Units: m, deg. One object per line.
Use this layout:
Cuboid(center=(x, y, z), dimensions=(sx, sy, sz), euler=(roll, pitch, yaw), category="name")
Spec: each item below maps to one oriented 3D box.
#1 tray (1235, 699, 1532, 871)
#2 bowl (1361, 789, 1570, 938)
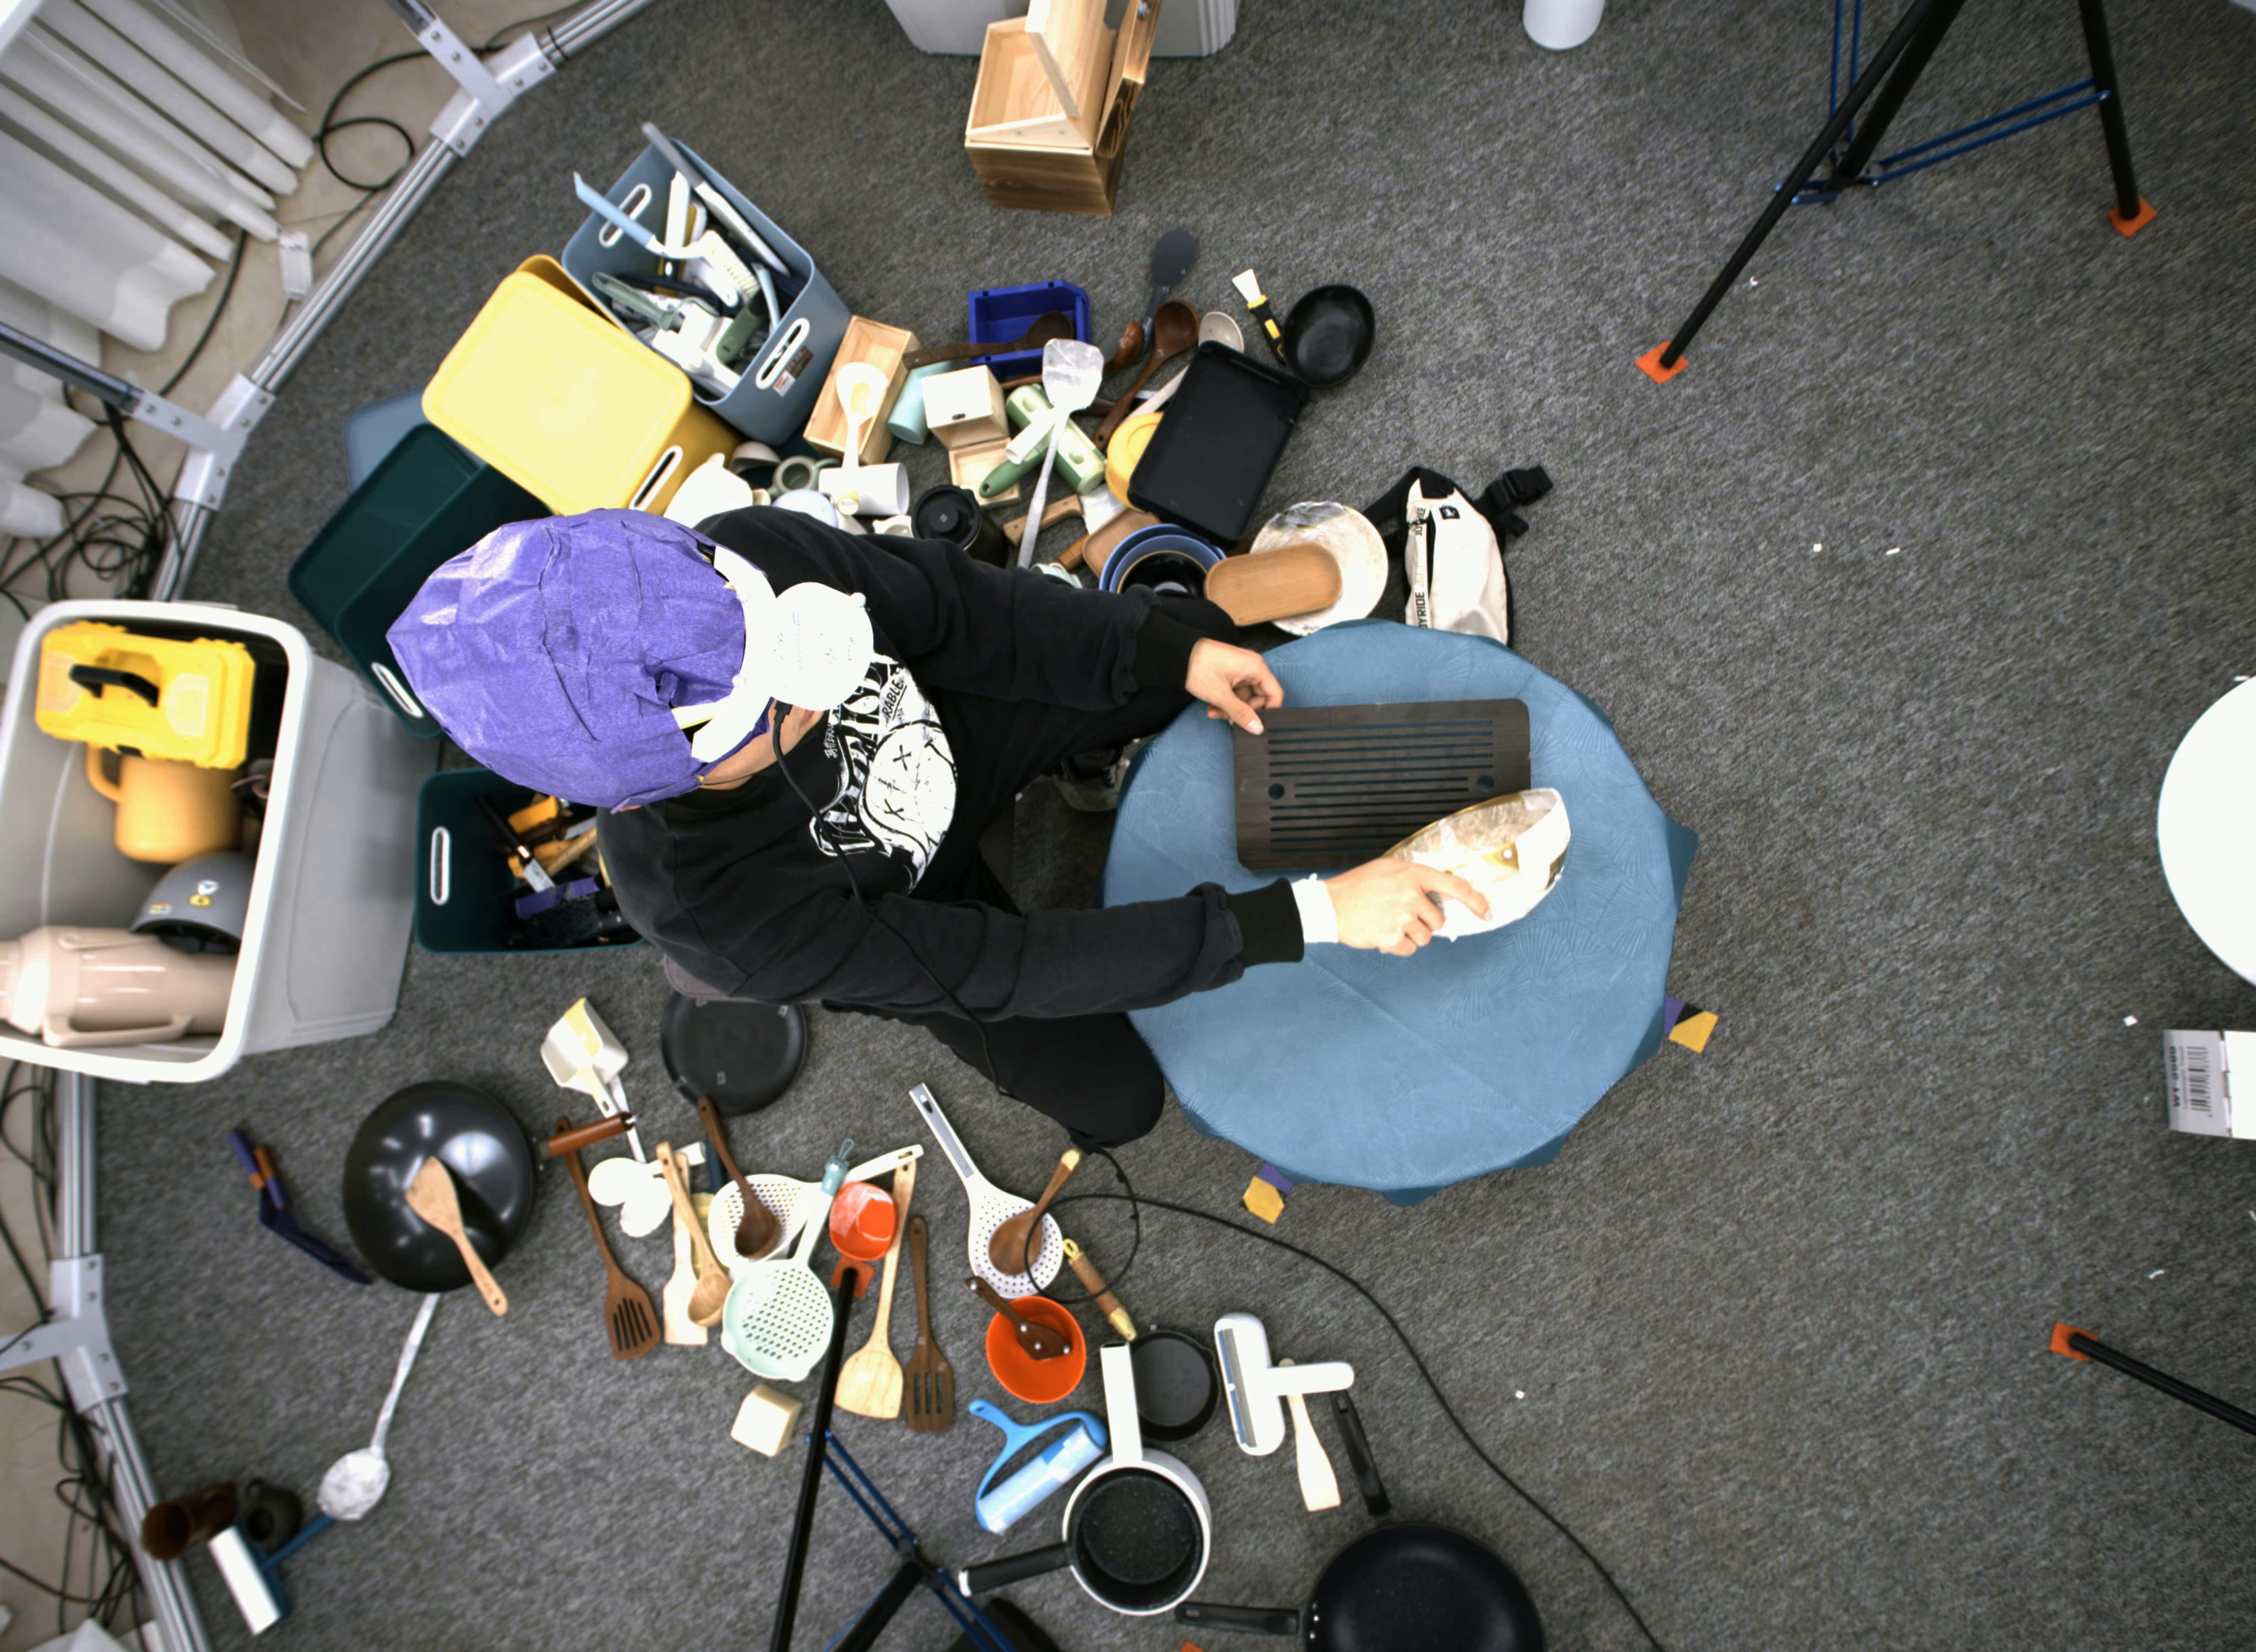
Cuboid(center=(0.267, -0.044, 1.442), dimensions=(0.307, 0.018, 0.171), euler=(-2, 97, 7), category="tray")
Cuboid(center=(0.341, 0.048, 1.344), dimensions=(0.216, 0.212, 0.095), euler=(-27, 99, 6), category="bowl")
